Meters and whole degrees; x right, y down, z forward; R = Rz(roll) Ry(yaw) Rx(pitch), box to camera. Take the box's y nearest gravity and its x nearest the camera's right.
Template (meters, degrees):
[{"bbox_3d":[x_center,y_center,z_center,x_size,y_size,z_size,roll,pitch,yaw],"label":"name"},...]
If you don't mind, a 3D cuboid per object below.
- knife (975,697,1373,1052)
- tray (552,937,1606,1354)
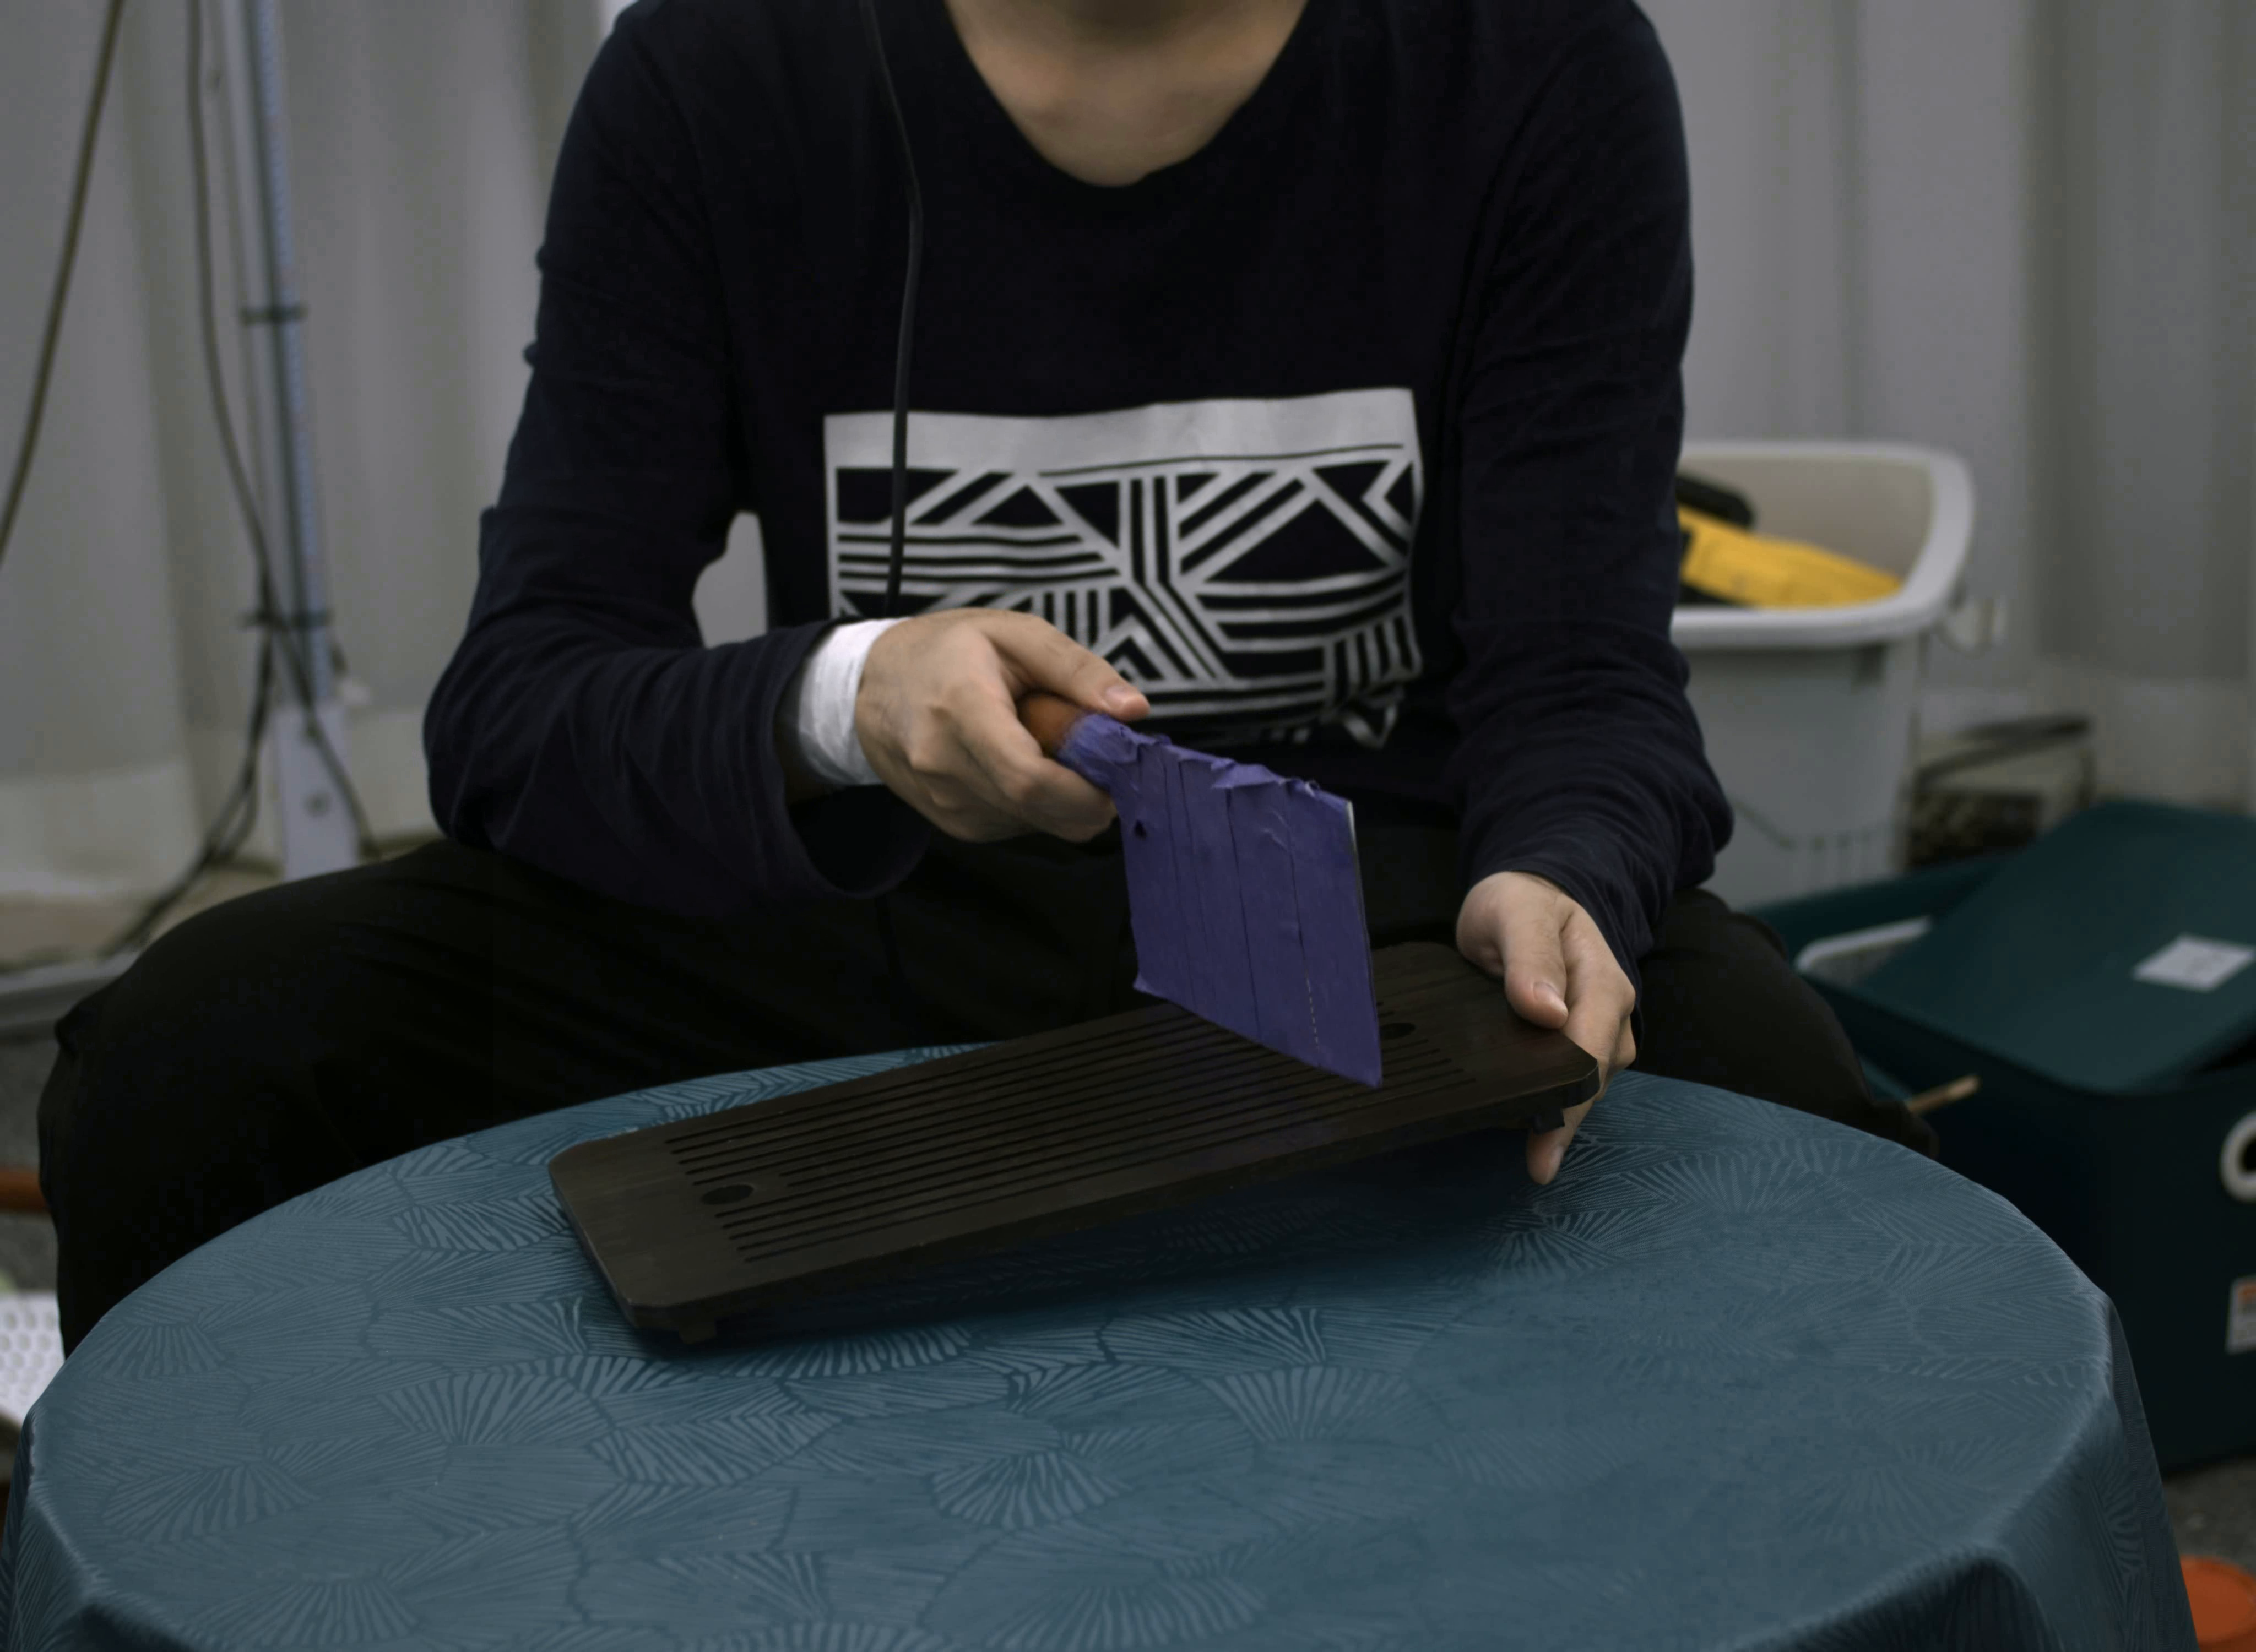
[{"bbox_3d":[0.011,0.014,1.750,0.032,0.104,0.316,-6,7,-17],"label":"knife"},{"bbox_3d":[-0.018,0.097,1.687,0.305,0.018,0.171,-14,16,-12],"label":"tray"}]
